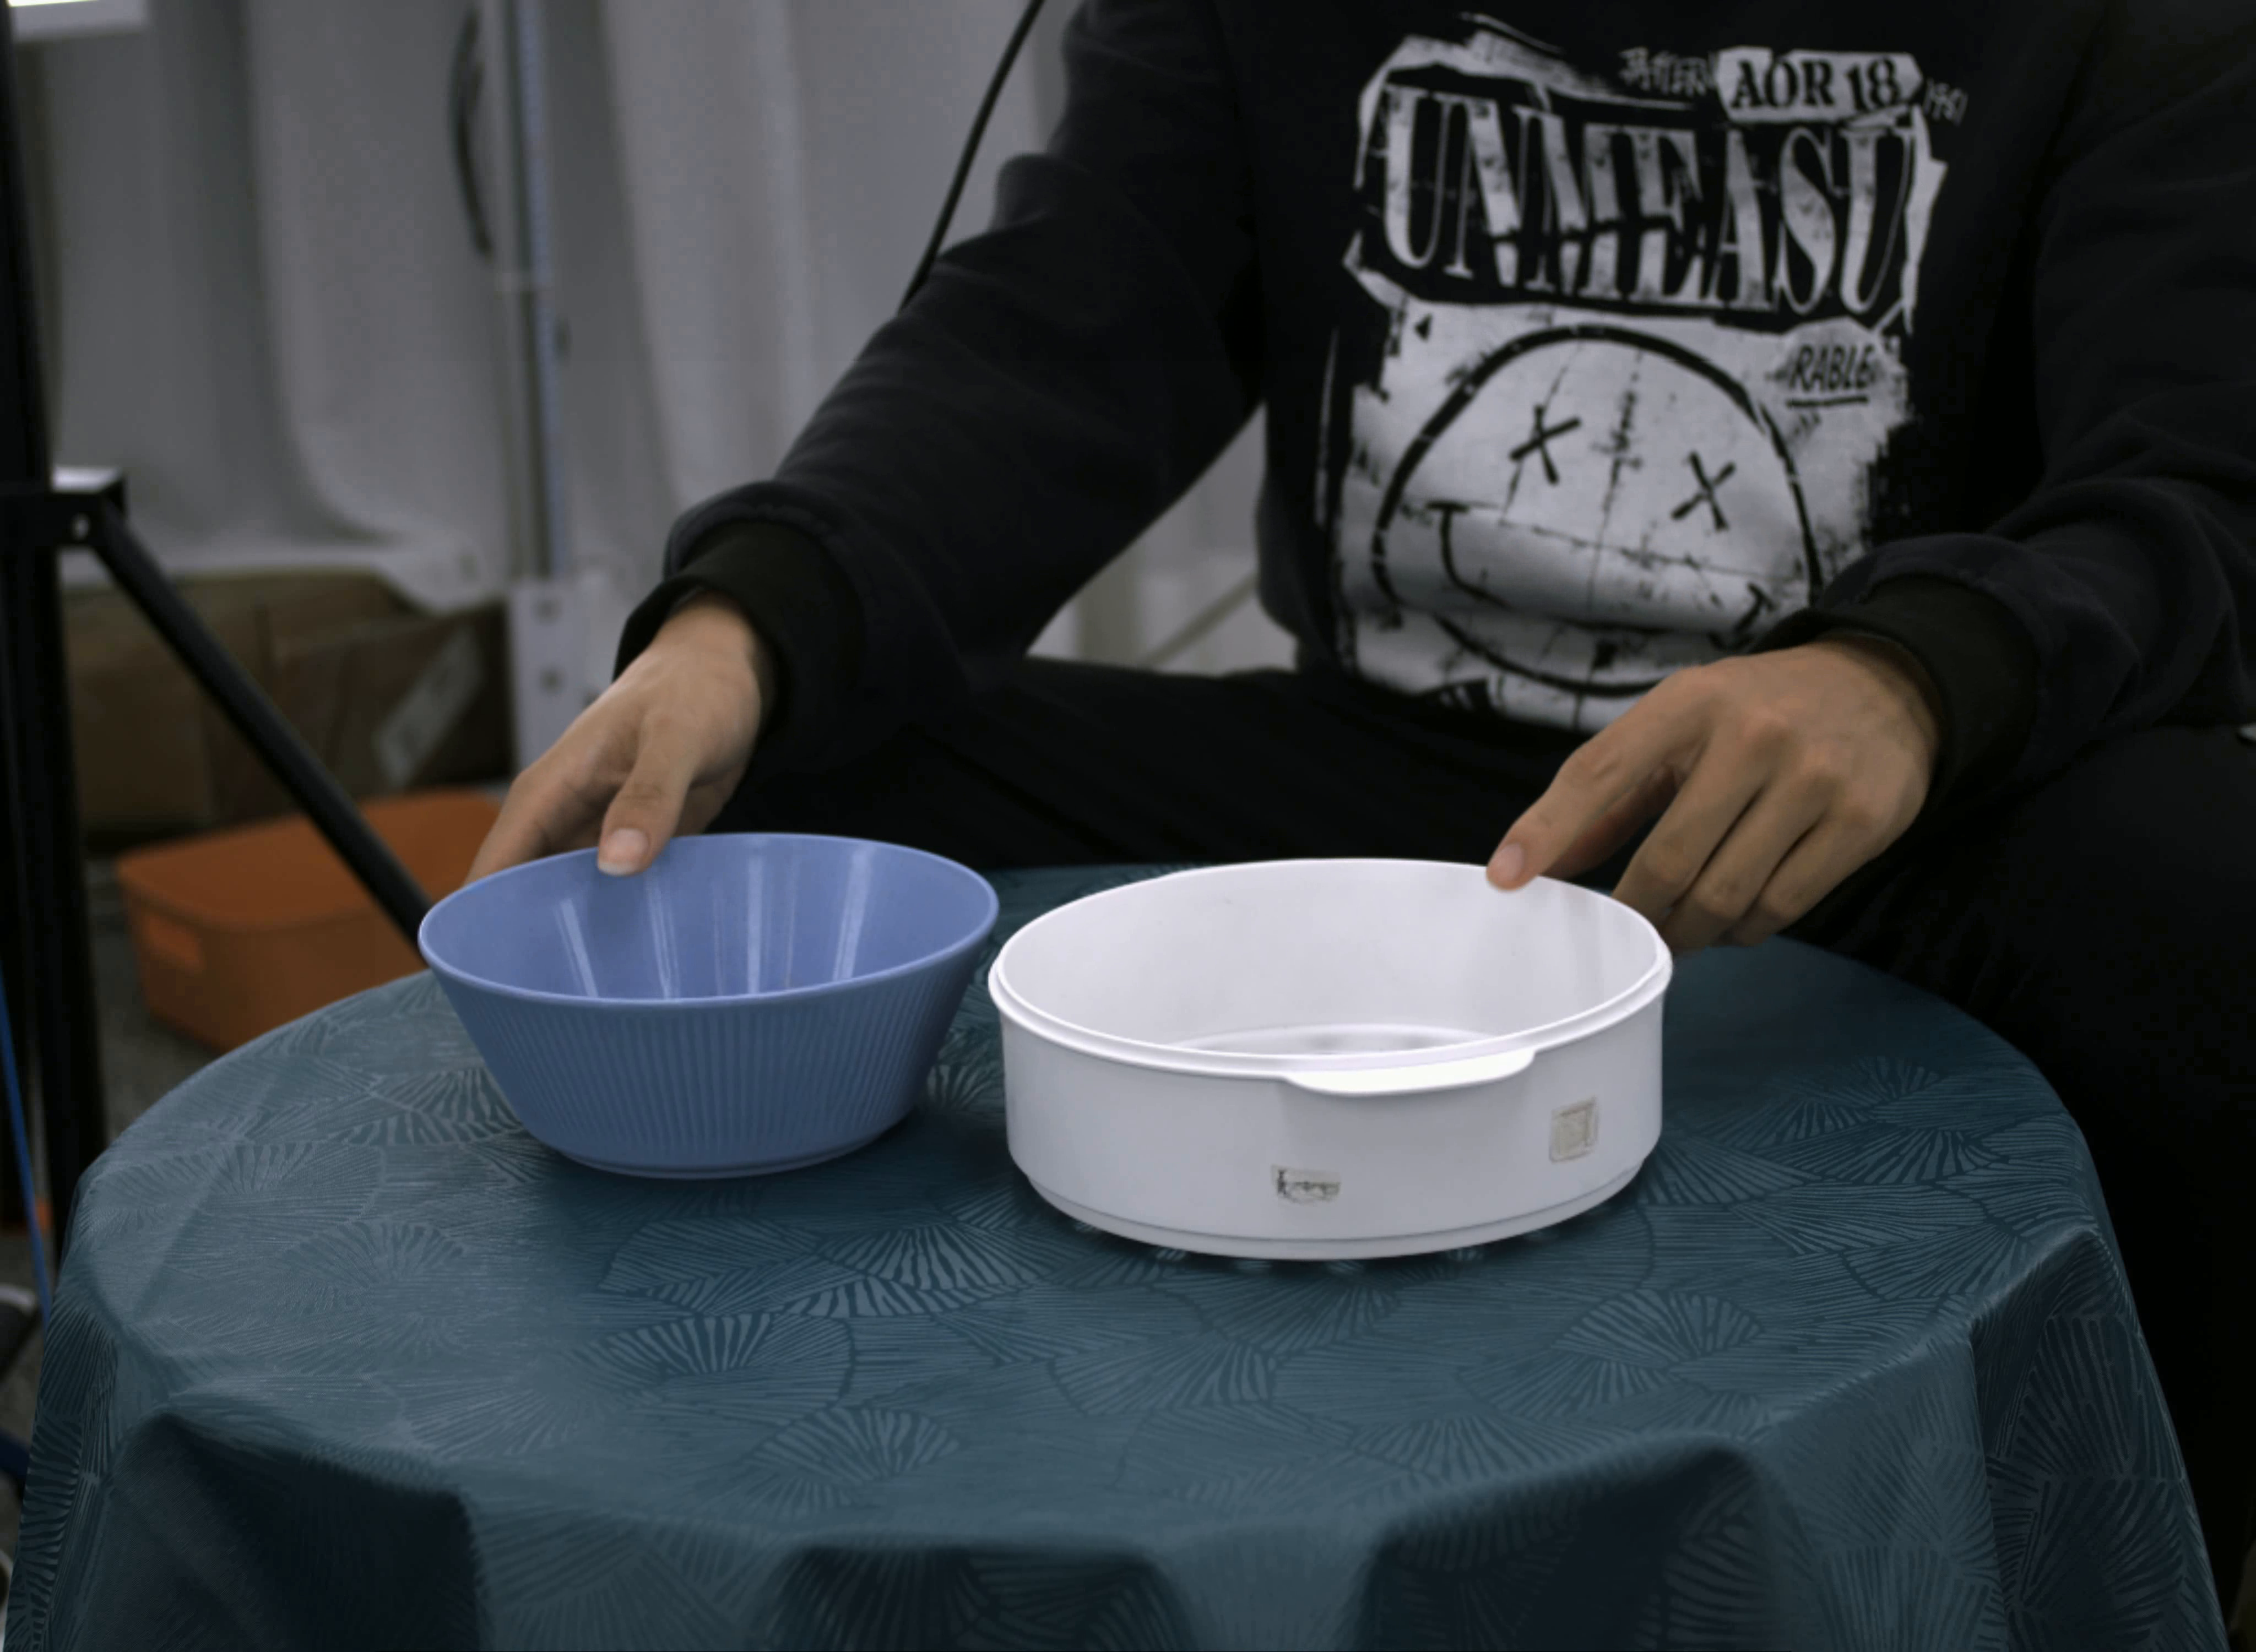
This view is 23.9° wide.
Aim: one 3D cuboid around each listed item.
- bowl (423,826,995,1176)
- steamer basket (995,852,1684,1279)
[{"bbox_3d":[-0.126,0.056,1.631,0.175,0.070,0.177,-3,17,0],"label":"bowl"},{"bbox_3d":[0.062,0.070,1.557,0.199,0.069,0.233,-6,18,-10],"label":"steamer basket"}]
